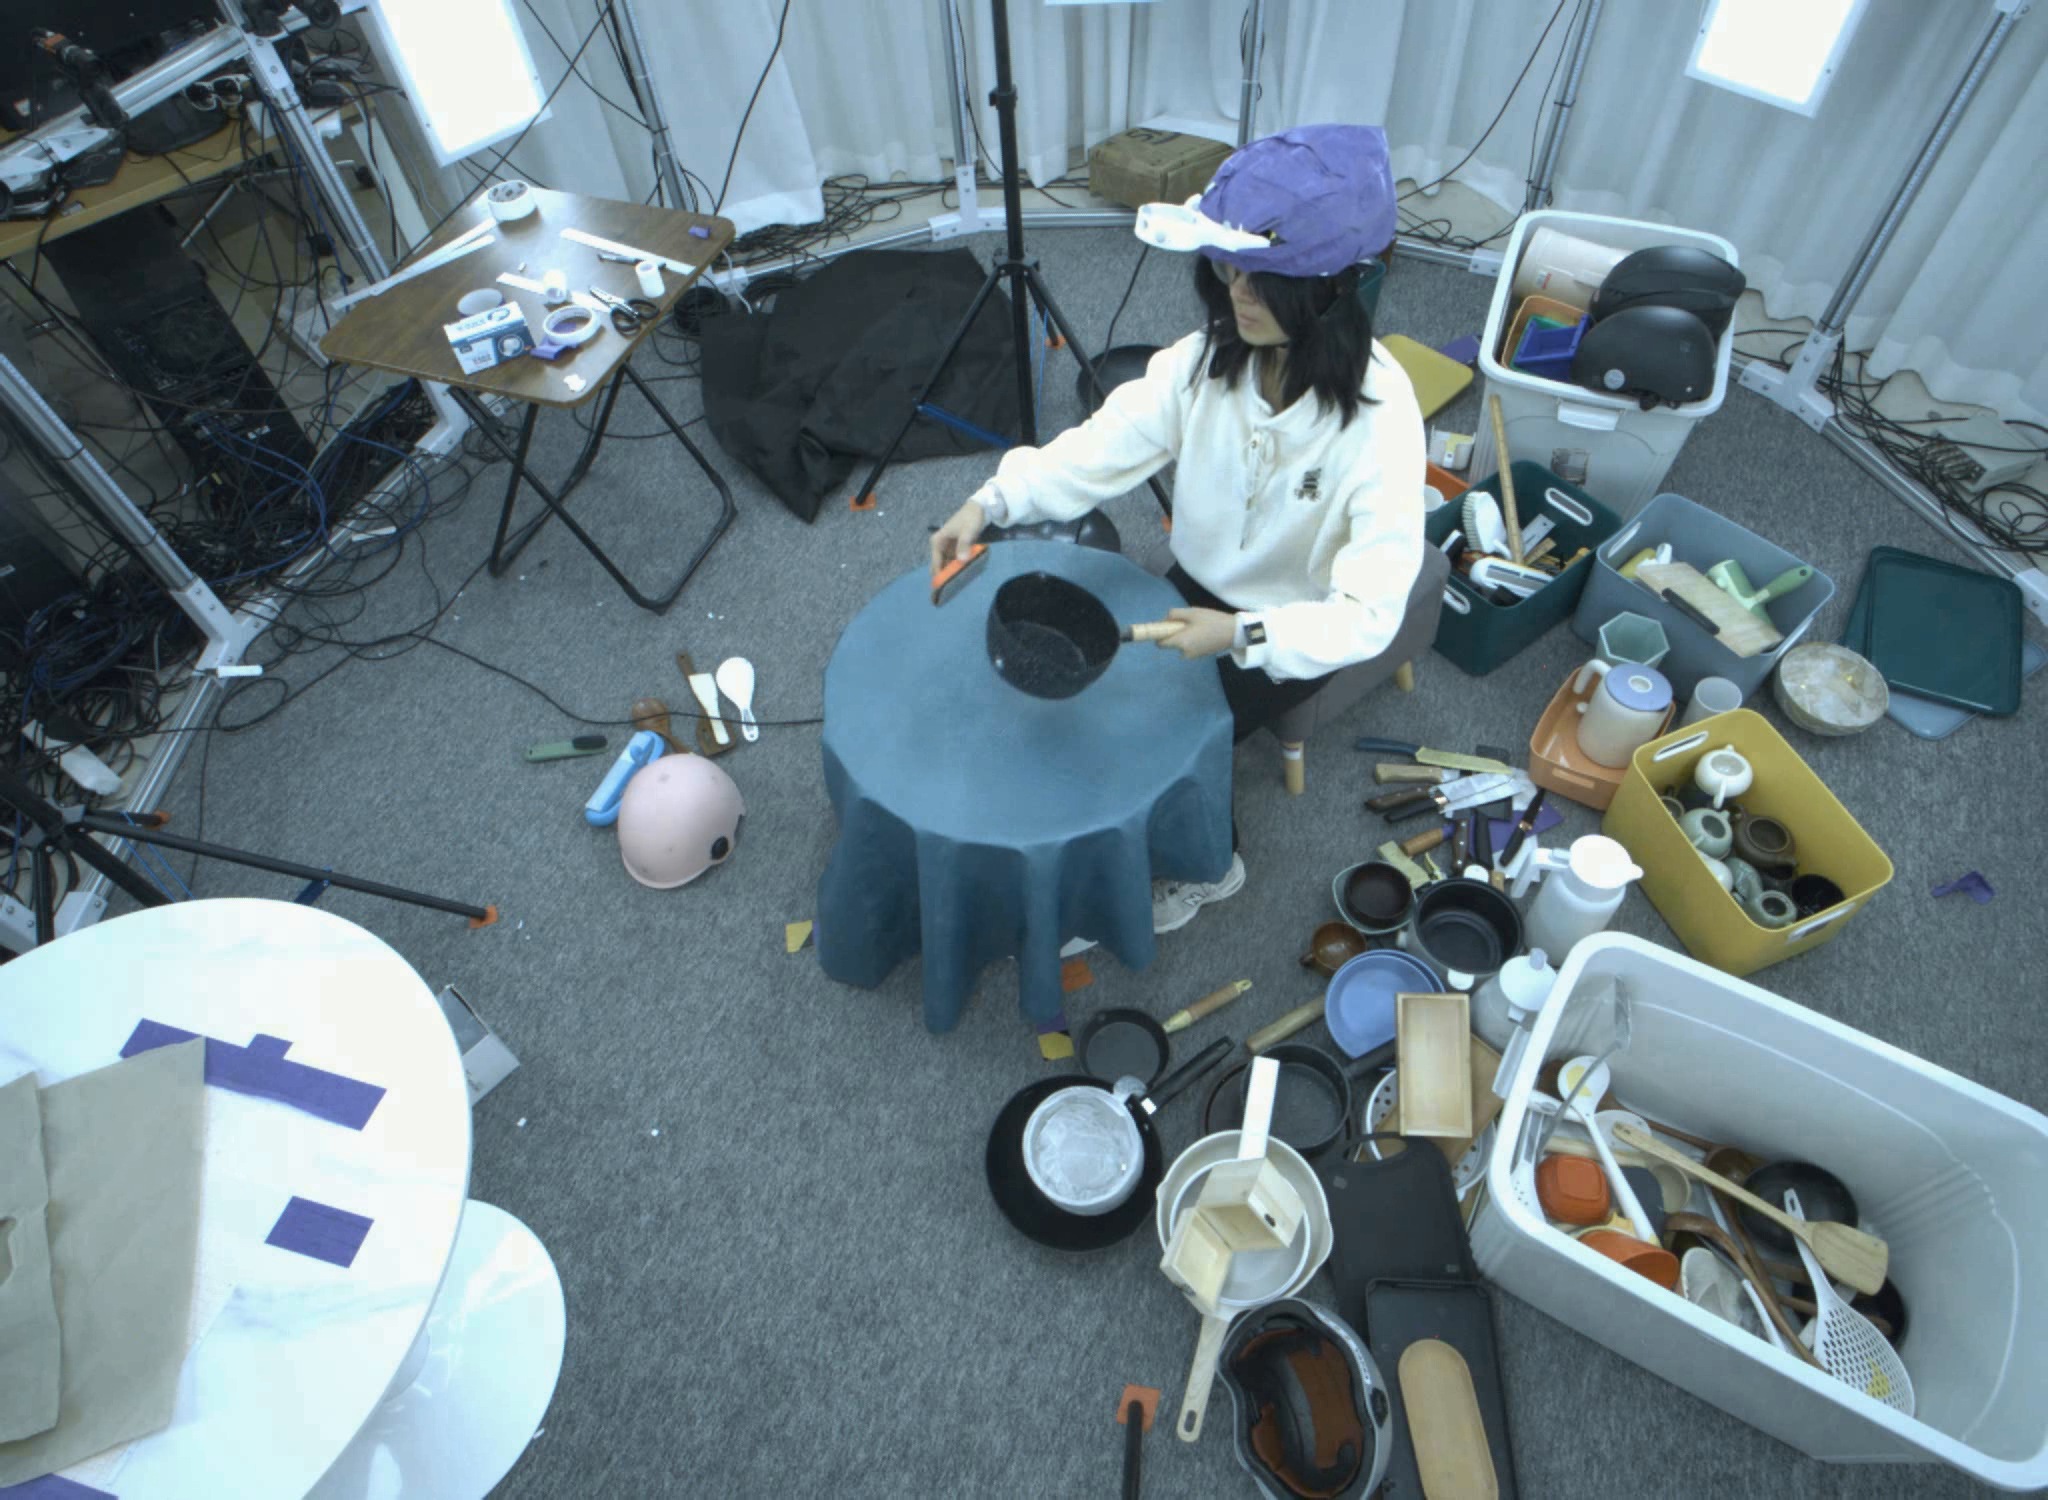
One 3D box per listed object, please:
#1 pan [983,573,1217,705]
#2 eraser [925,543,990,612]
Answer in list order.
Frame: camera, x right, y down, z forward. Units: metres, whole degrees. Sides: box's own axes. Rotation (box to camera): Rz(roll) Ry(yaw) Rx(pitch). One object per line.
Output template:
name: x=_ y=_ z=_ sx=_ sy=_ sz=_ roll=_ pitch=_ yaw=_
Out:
pan: x=0.105 y=-0.154 z=1.729 sx=0.348 sy=0.108 sz=0.204 roll=-2 pitch=52 yaw=-25
eraser: x=-0.094 y=-0.243 z=1.722 sx=0.023 sy=0.059 sz=0.109 roll=41 pitch=61 yaw=8
